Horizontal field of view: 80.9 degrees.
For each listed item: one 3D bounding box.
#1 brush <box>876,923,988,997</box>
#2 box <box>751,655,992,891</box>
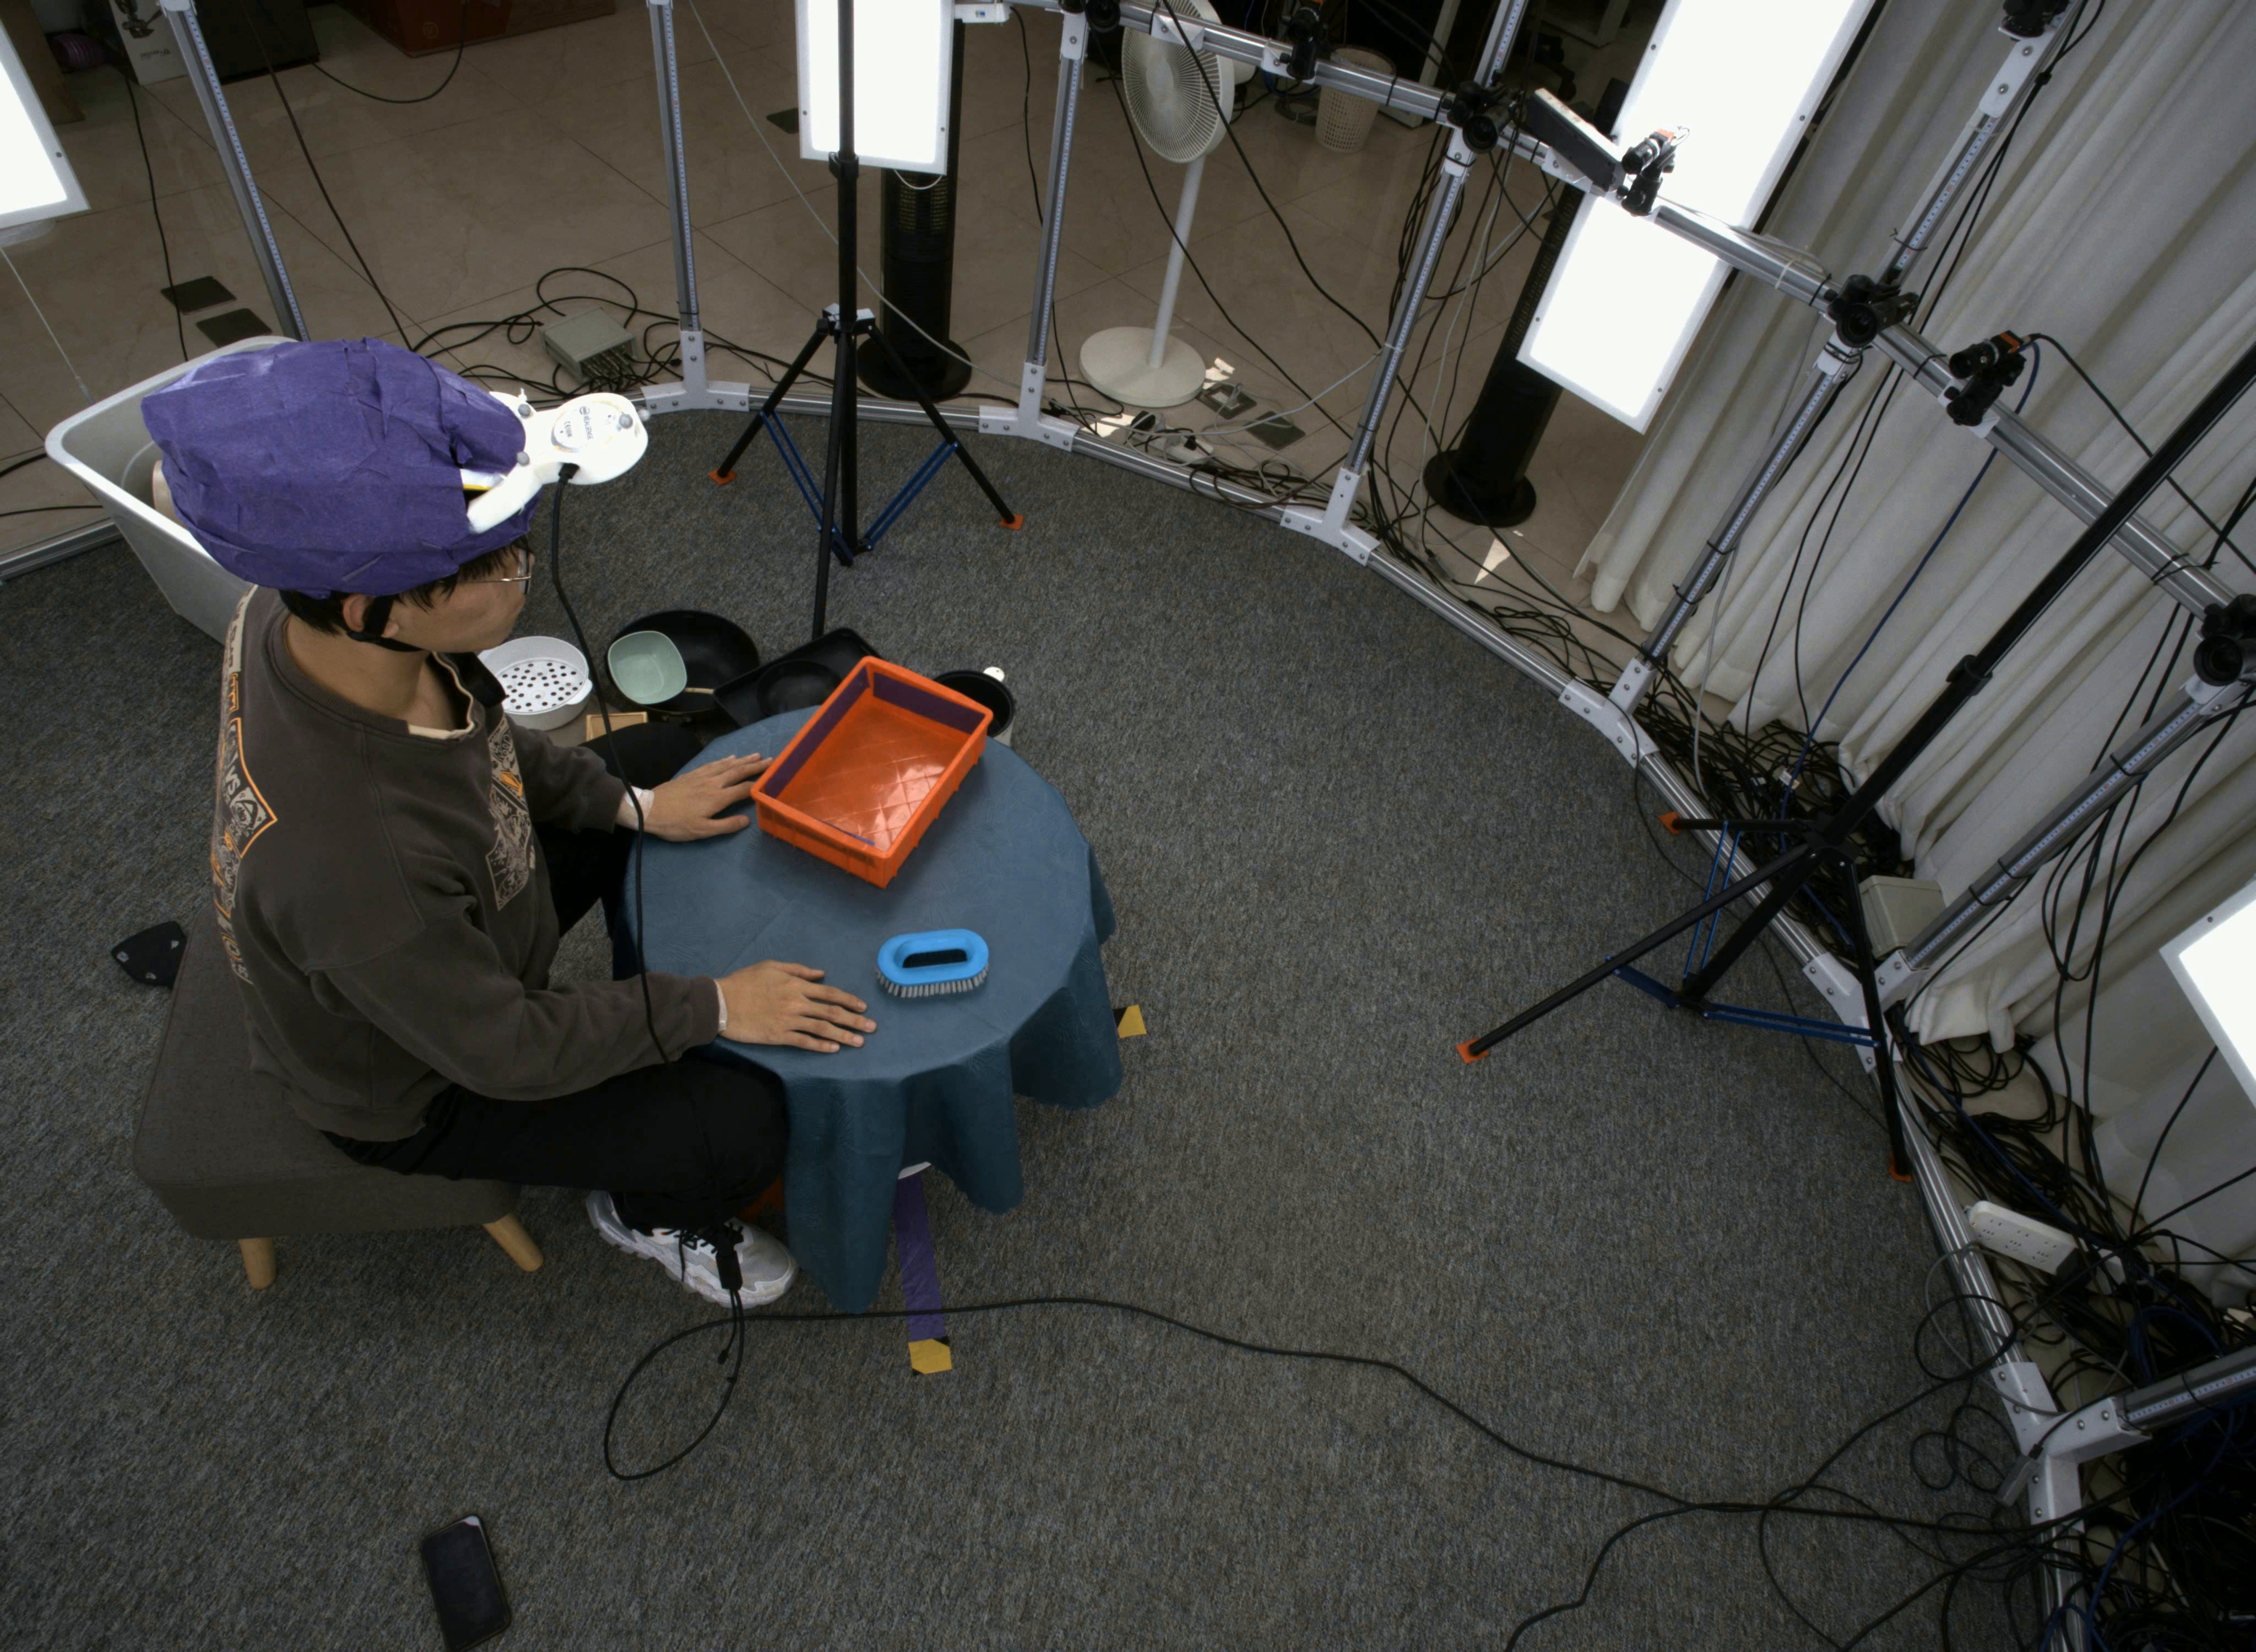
[{"bbox_3d":[-0.243,0.158,1.625,0.142,0.065,0.083,-4,60,-15],"label":"brush"},{"bbox_3d":[-0.340,-0.071,1.756,0.203,0.098,0.302,26,52,7],"label":"box"}]
